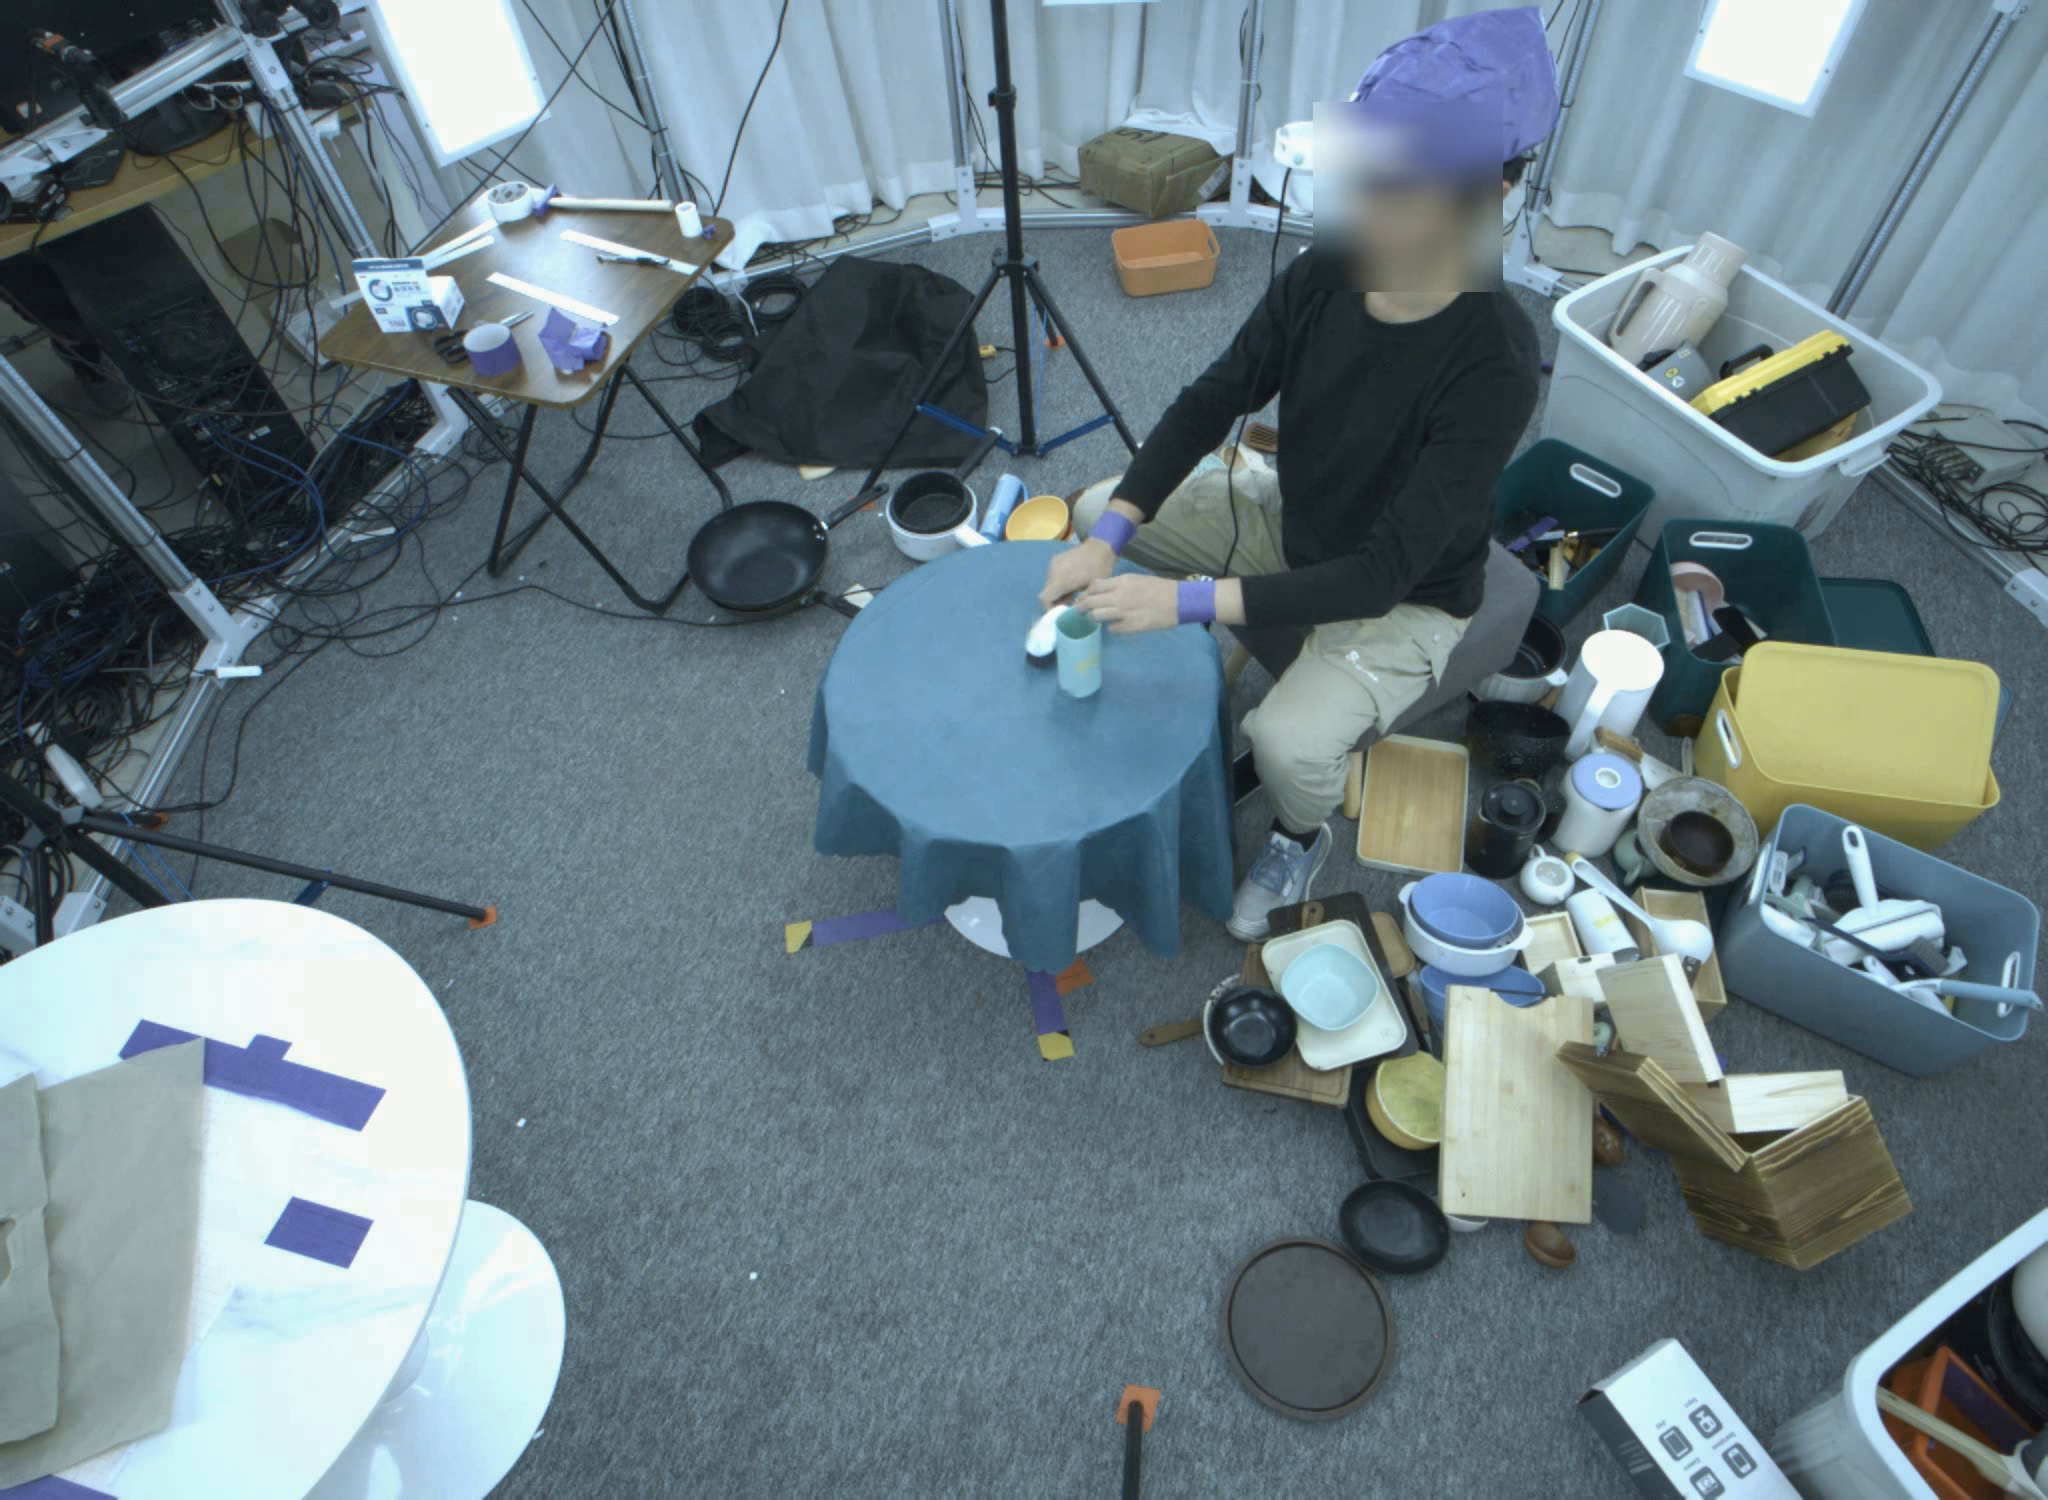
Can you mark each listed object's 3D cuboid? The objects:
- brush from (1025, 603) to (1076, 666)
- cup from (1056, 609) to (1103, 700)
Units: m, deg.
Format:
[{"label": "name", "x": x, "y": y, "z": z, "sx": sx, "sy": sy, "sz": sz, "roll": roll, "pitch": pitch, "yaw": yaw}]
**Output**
[{"label": "brush", "x": 0.041, "y": -0.184, "z": 1.872, "sx": 0.049, "sy": 0.073, "sz": 0.100, "roll": 37, "pitch": 66, "yaw": 24}, {"label": "cup", "x": 0.082, "y": -0.141, "z": 1.811, "sx": 0.066, "sy": 0.134, "sz": 0.066, "roll": -2, "pitch": 54, "yaw": 4}]
